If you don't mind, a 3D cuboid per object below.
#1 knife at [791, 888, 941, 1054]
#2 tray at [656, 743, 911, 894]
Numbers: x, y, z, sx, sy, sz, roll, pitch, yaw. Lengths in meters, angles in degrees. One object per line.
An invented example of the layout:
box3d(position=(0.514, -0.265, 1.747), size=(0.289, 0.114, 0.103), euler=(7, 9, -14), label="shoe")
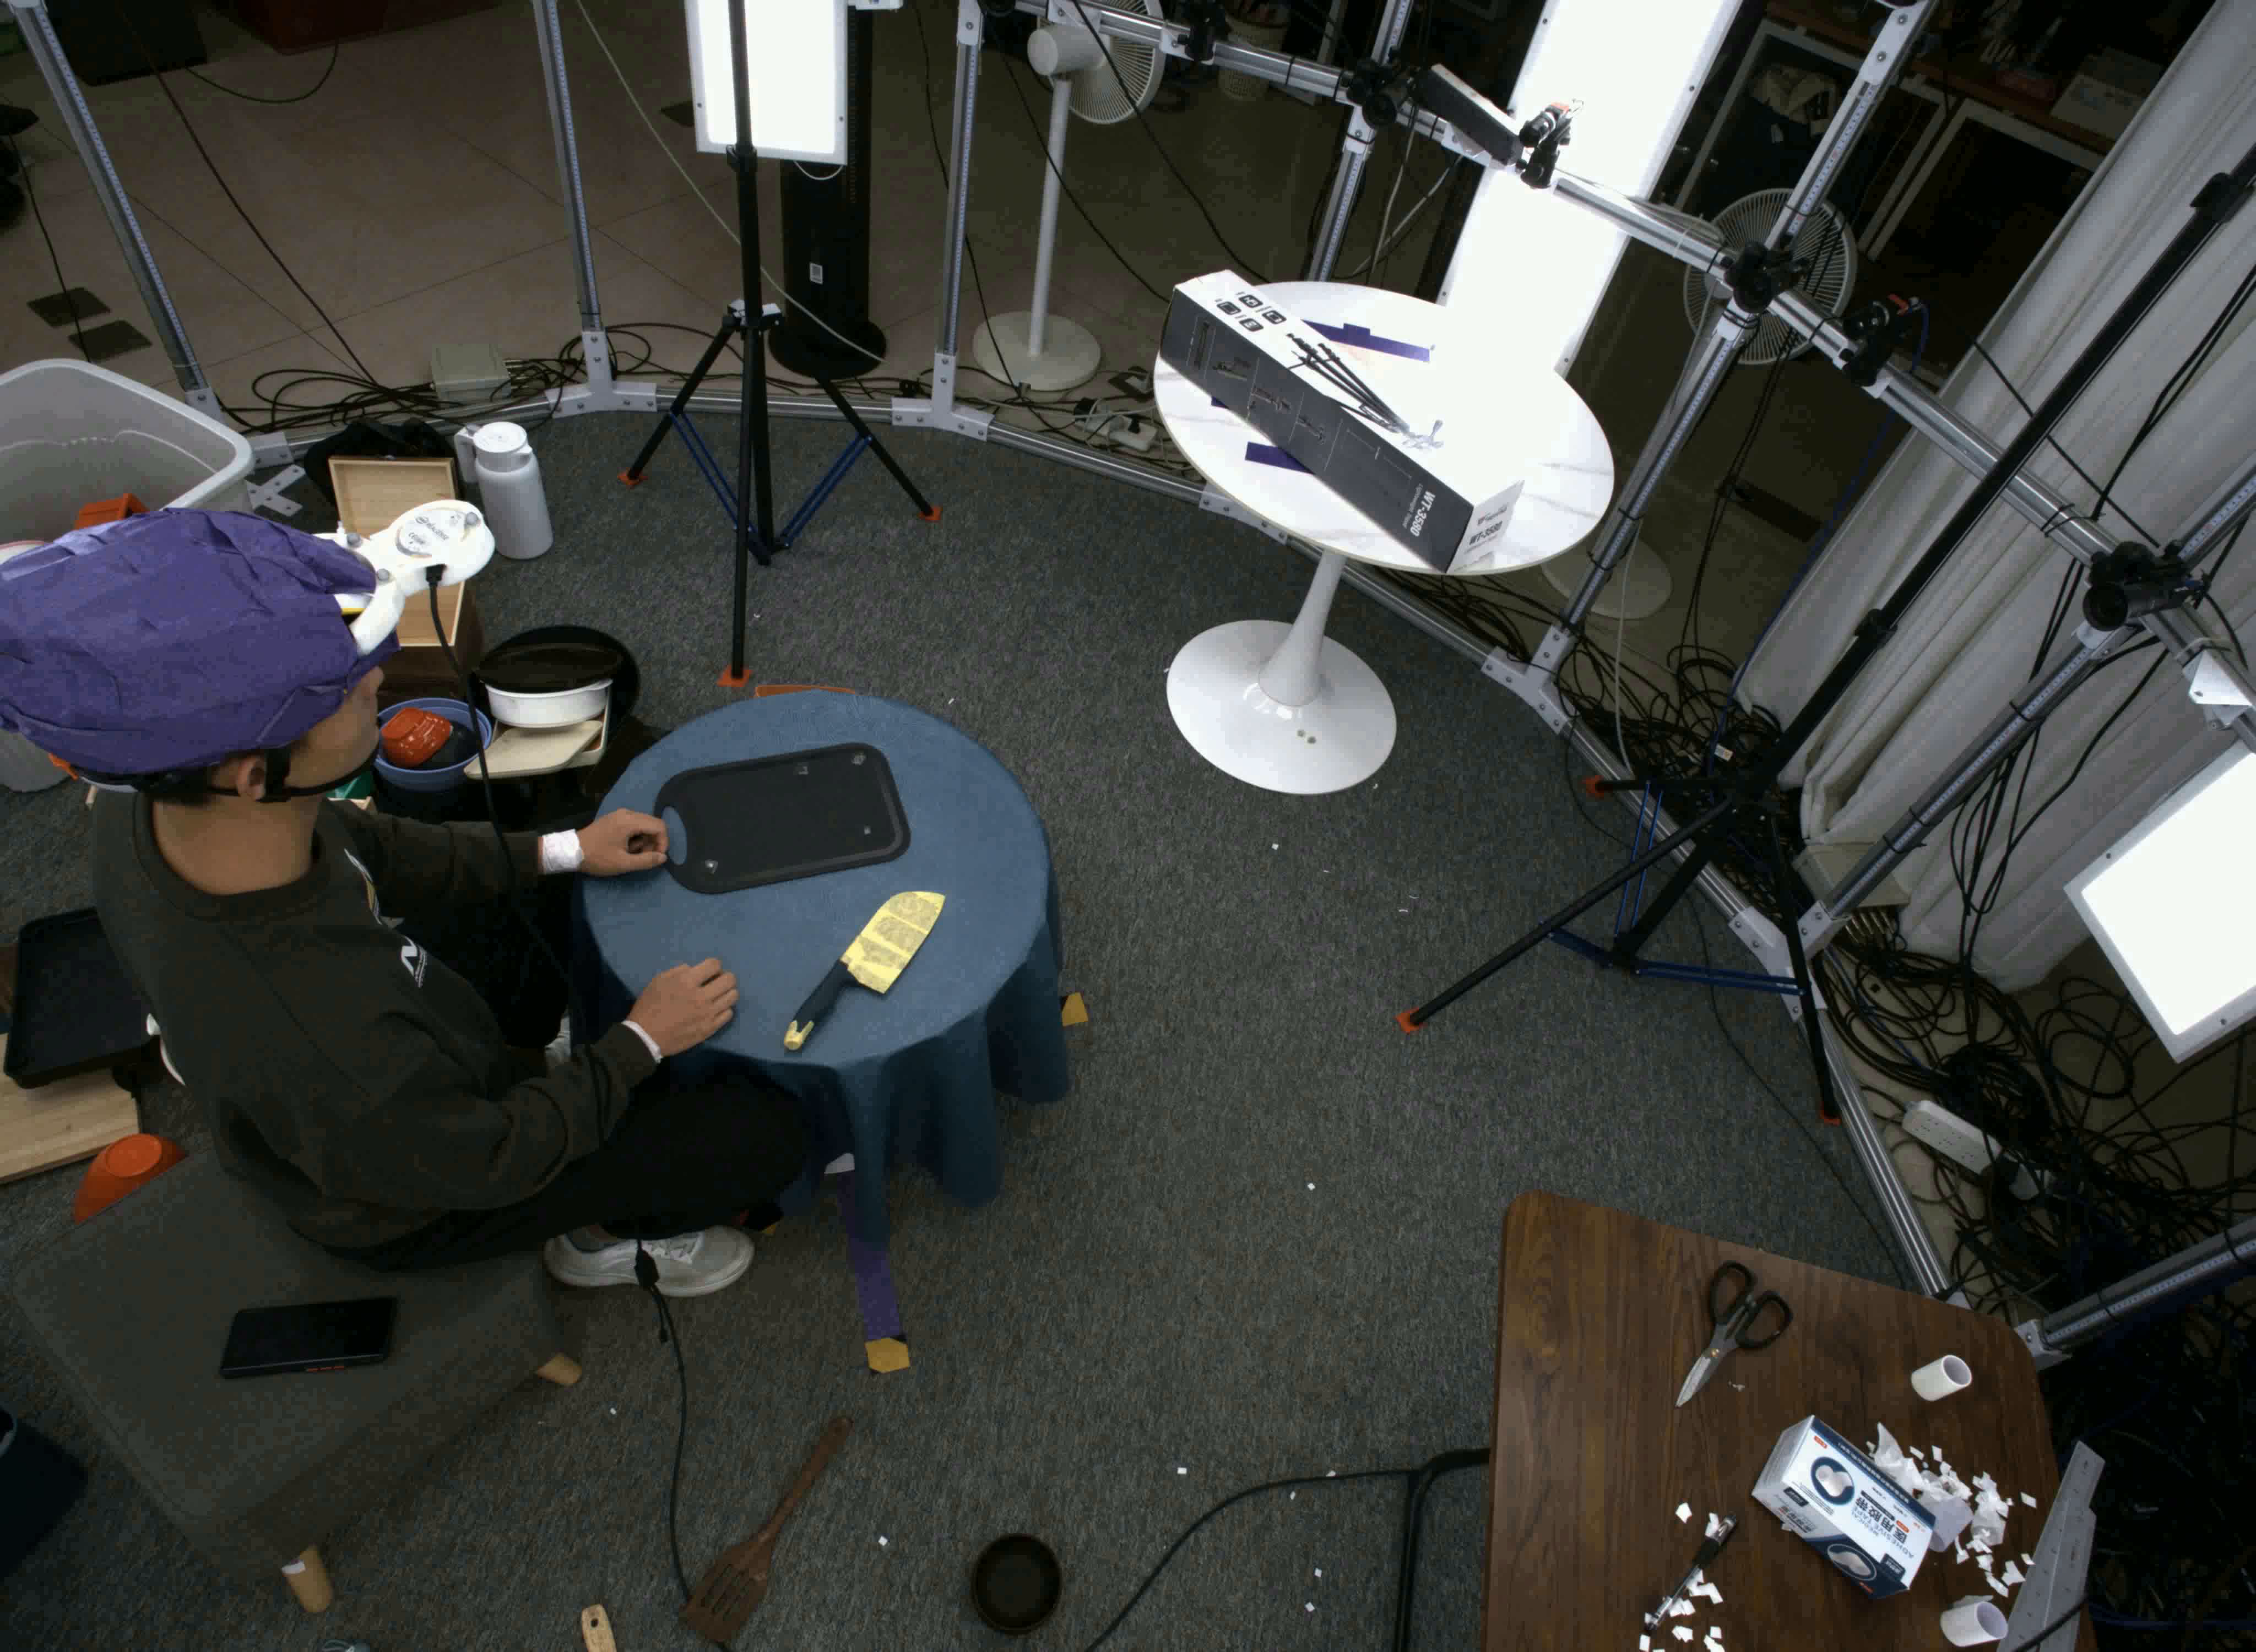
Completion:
box3d(position=(-0.322, 0.174, 1.623), size=(0.079, 0.028, 0.288), euler=(28, 52, 9), label="knife")
box3d(position=(-0.464, -0.015, 1.731), size=(0.327, 0.010, 0.206), euler=(-11, 58, -21), label="tray")
